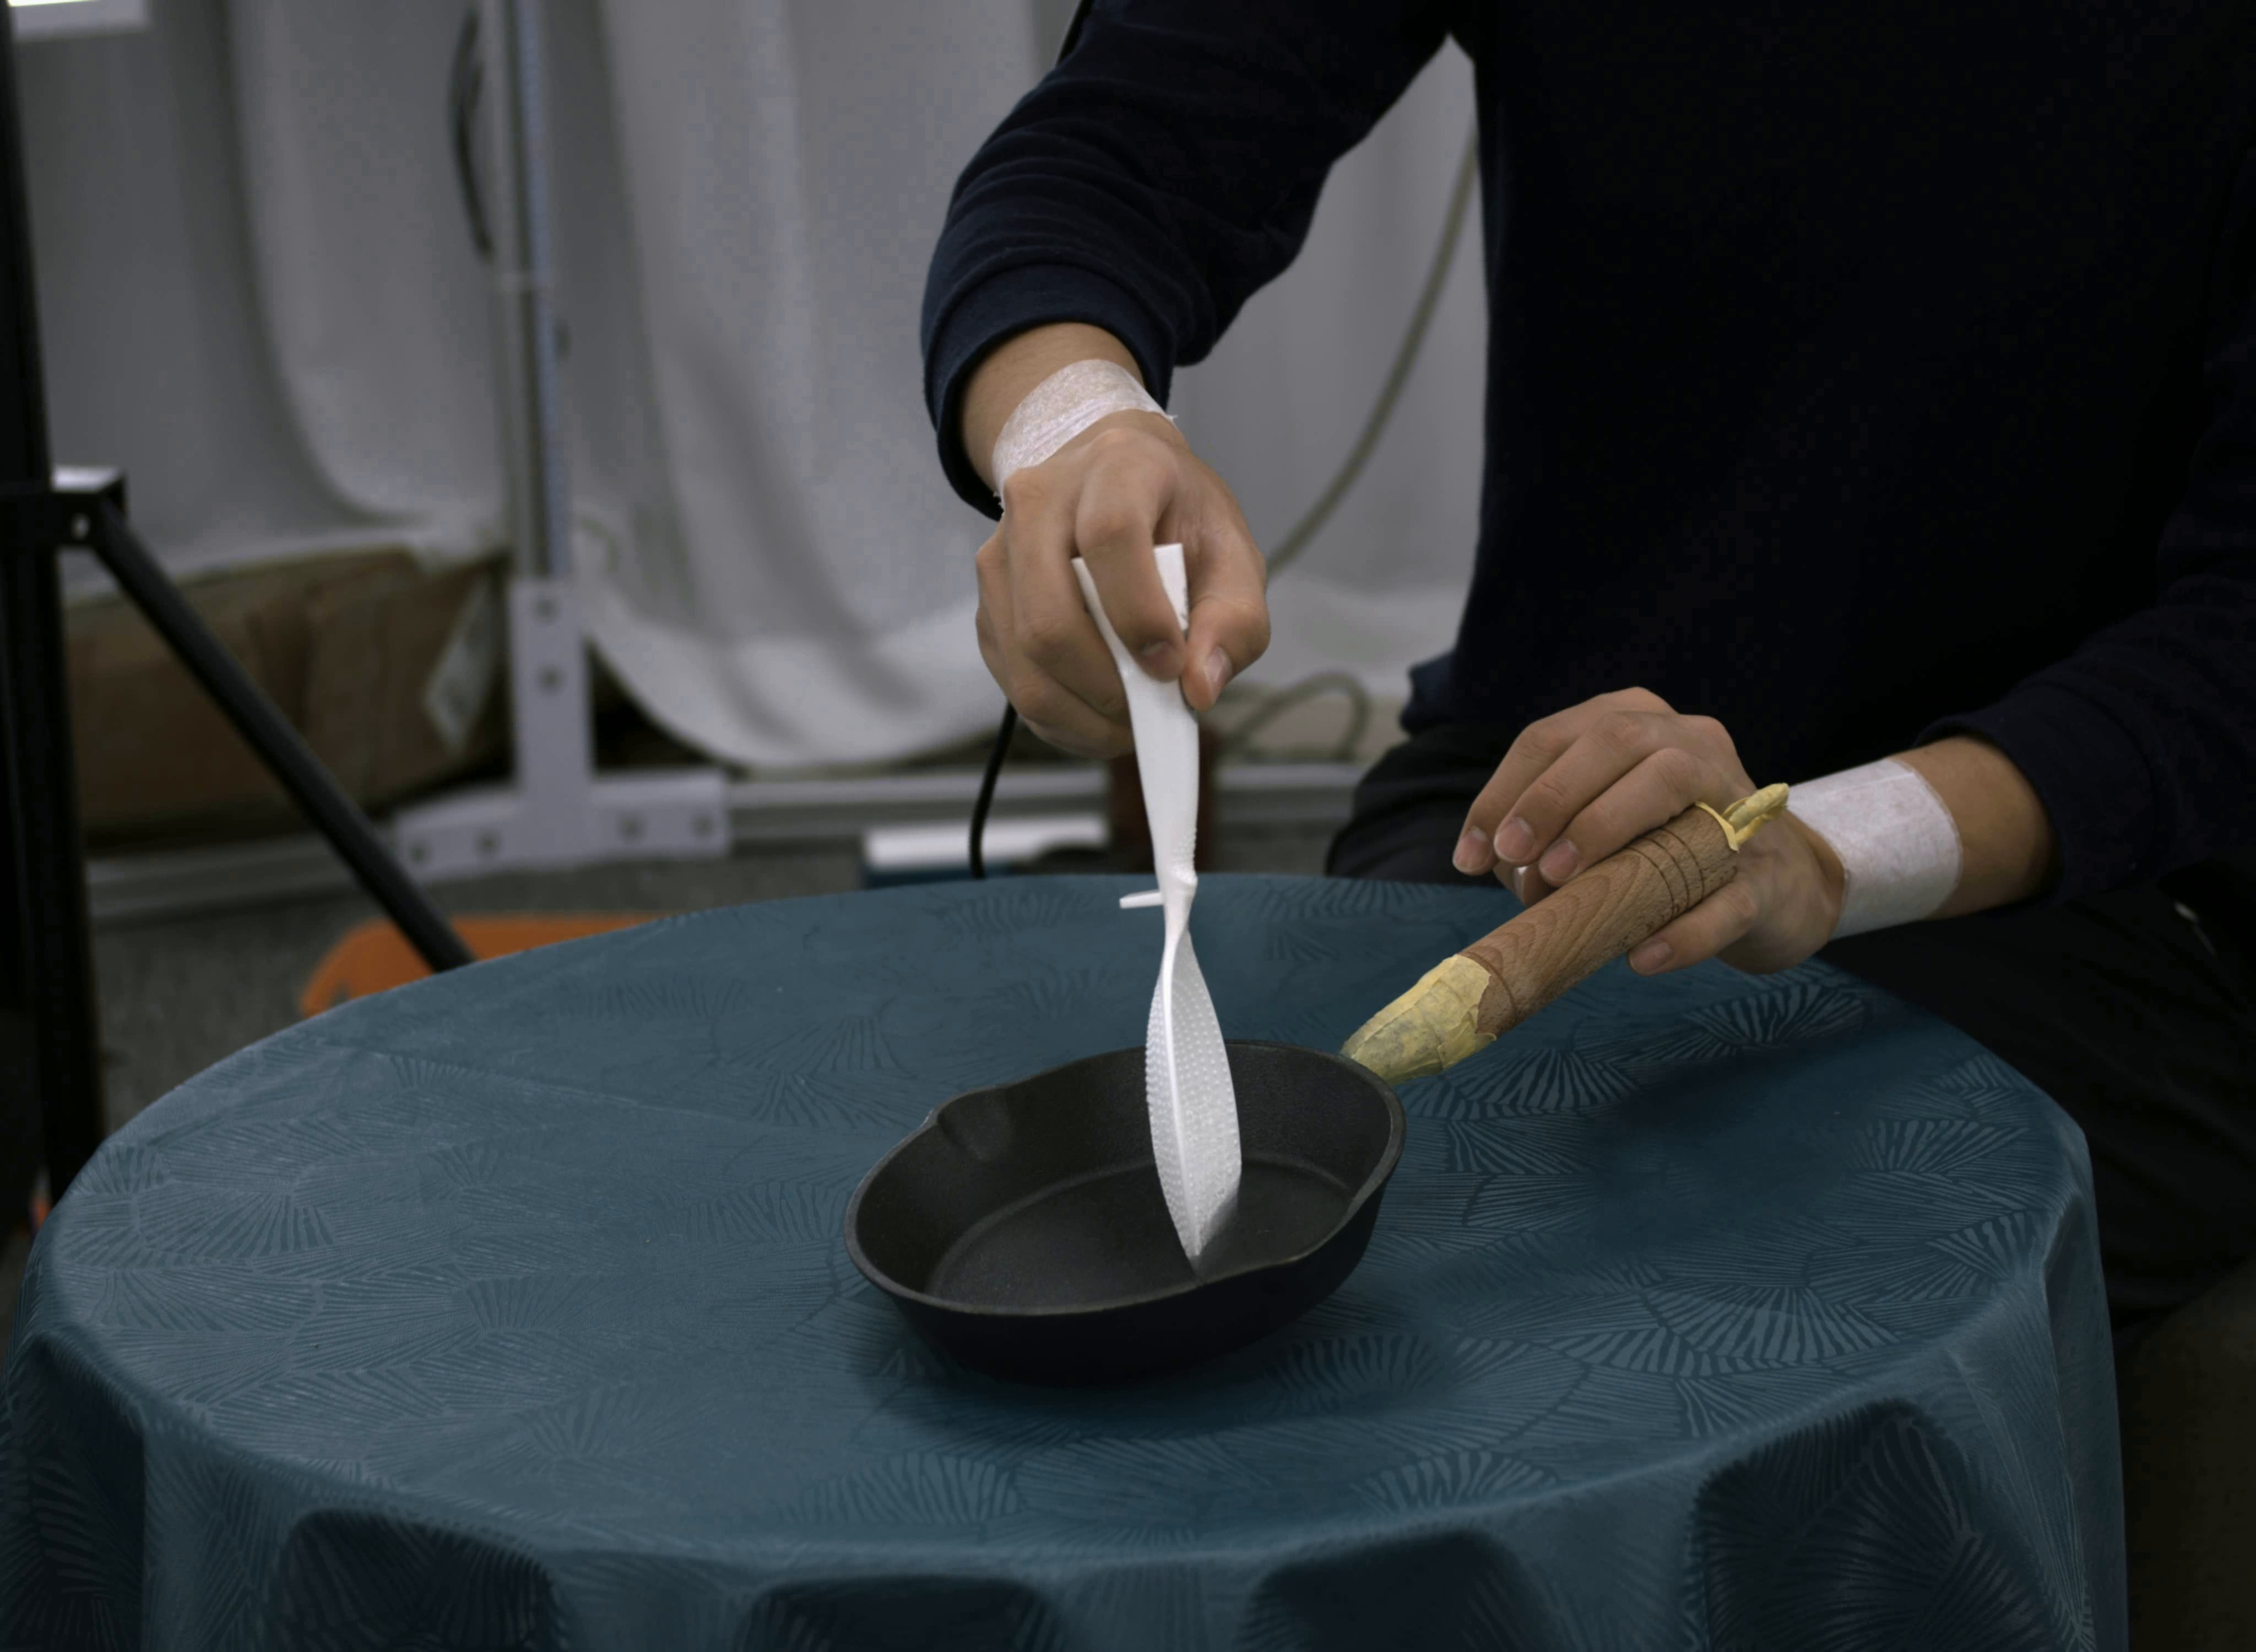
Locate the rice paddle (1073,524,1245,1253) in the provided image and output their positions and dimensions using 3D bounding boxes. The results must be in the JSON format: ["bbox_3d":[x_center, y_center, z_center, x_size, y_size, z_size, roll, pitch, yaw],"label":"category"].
[{"bbox_3d":[0.015,0.023,1.425,0.029,0.206,0.068,-7,4,15],"label":"rice paddle"}]

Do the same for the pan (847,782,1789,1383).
[{"bbox_3d":[0.069,0.069,1.487,0.319,0.049,0.172,-26,24,-25],"label":"pan"}]
